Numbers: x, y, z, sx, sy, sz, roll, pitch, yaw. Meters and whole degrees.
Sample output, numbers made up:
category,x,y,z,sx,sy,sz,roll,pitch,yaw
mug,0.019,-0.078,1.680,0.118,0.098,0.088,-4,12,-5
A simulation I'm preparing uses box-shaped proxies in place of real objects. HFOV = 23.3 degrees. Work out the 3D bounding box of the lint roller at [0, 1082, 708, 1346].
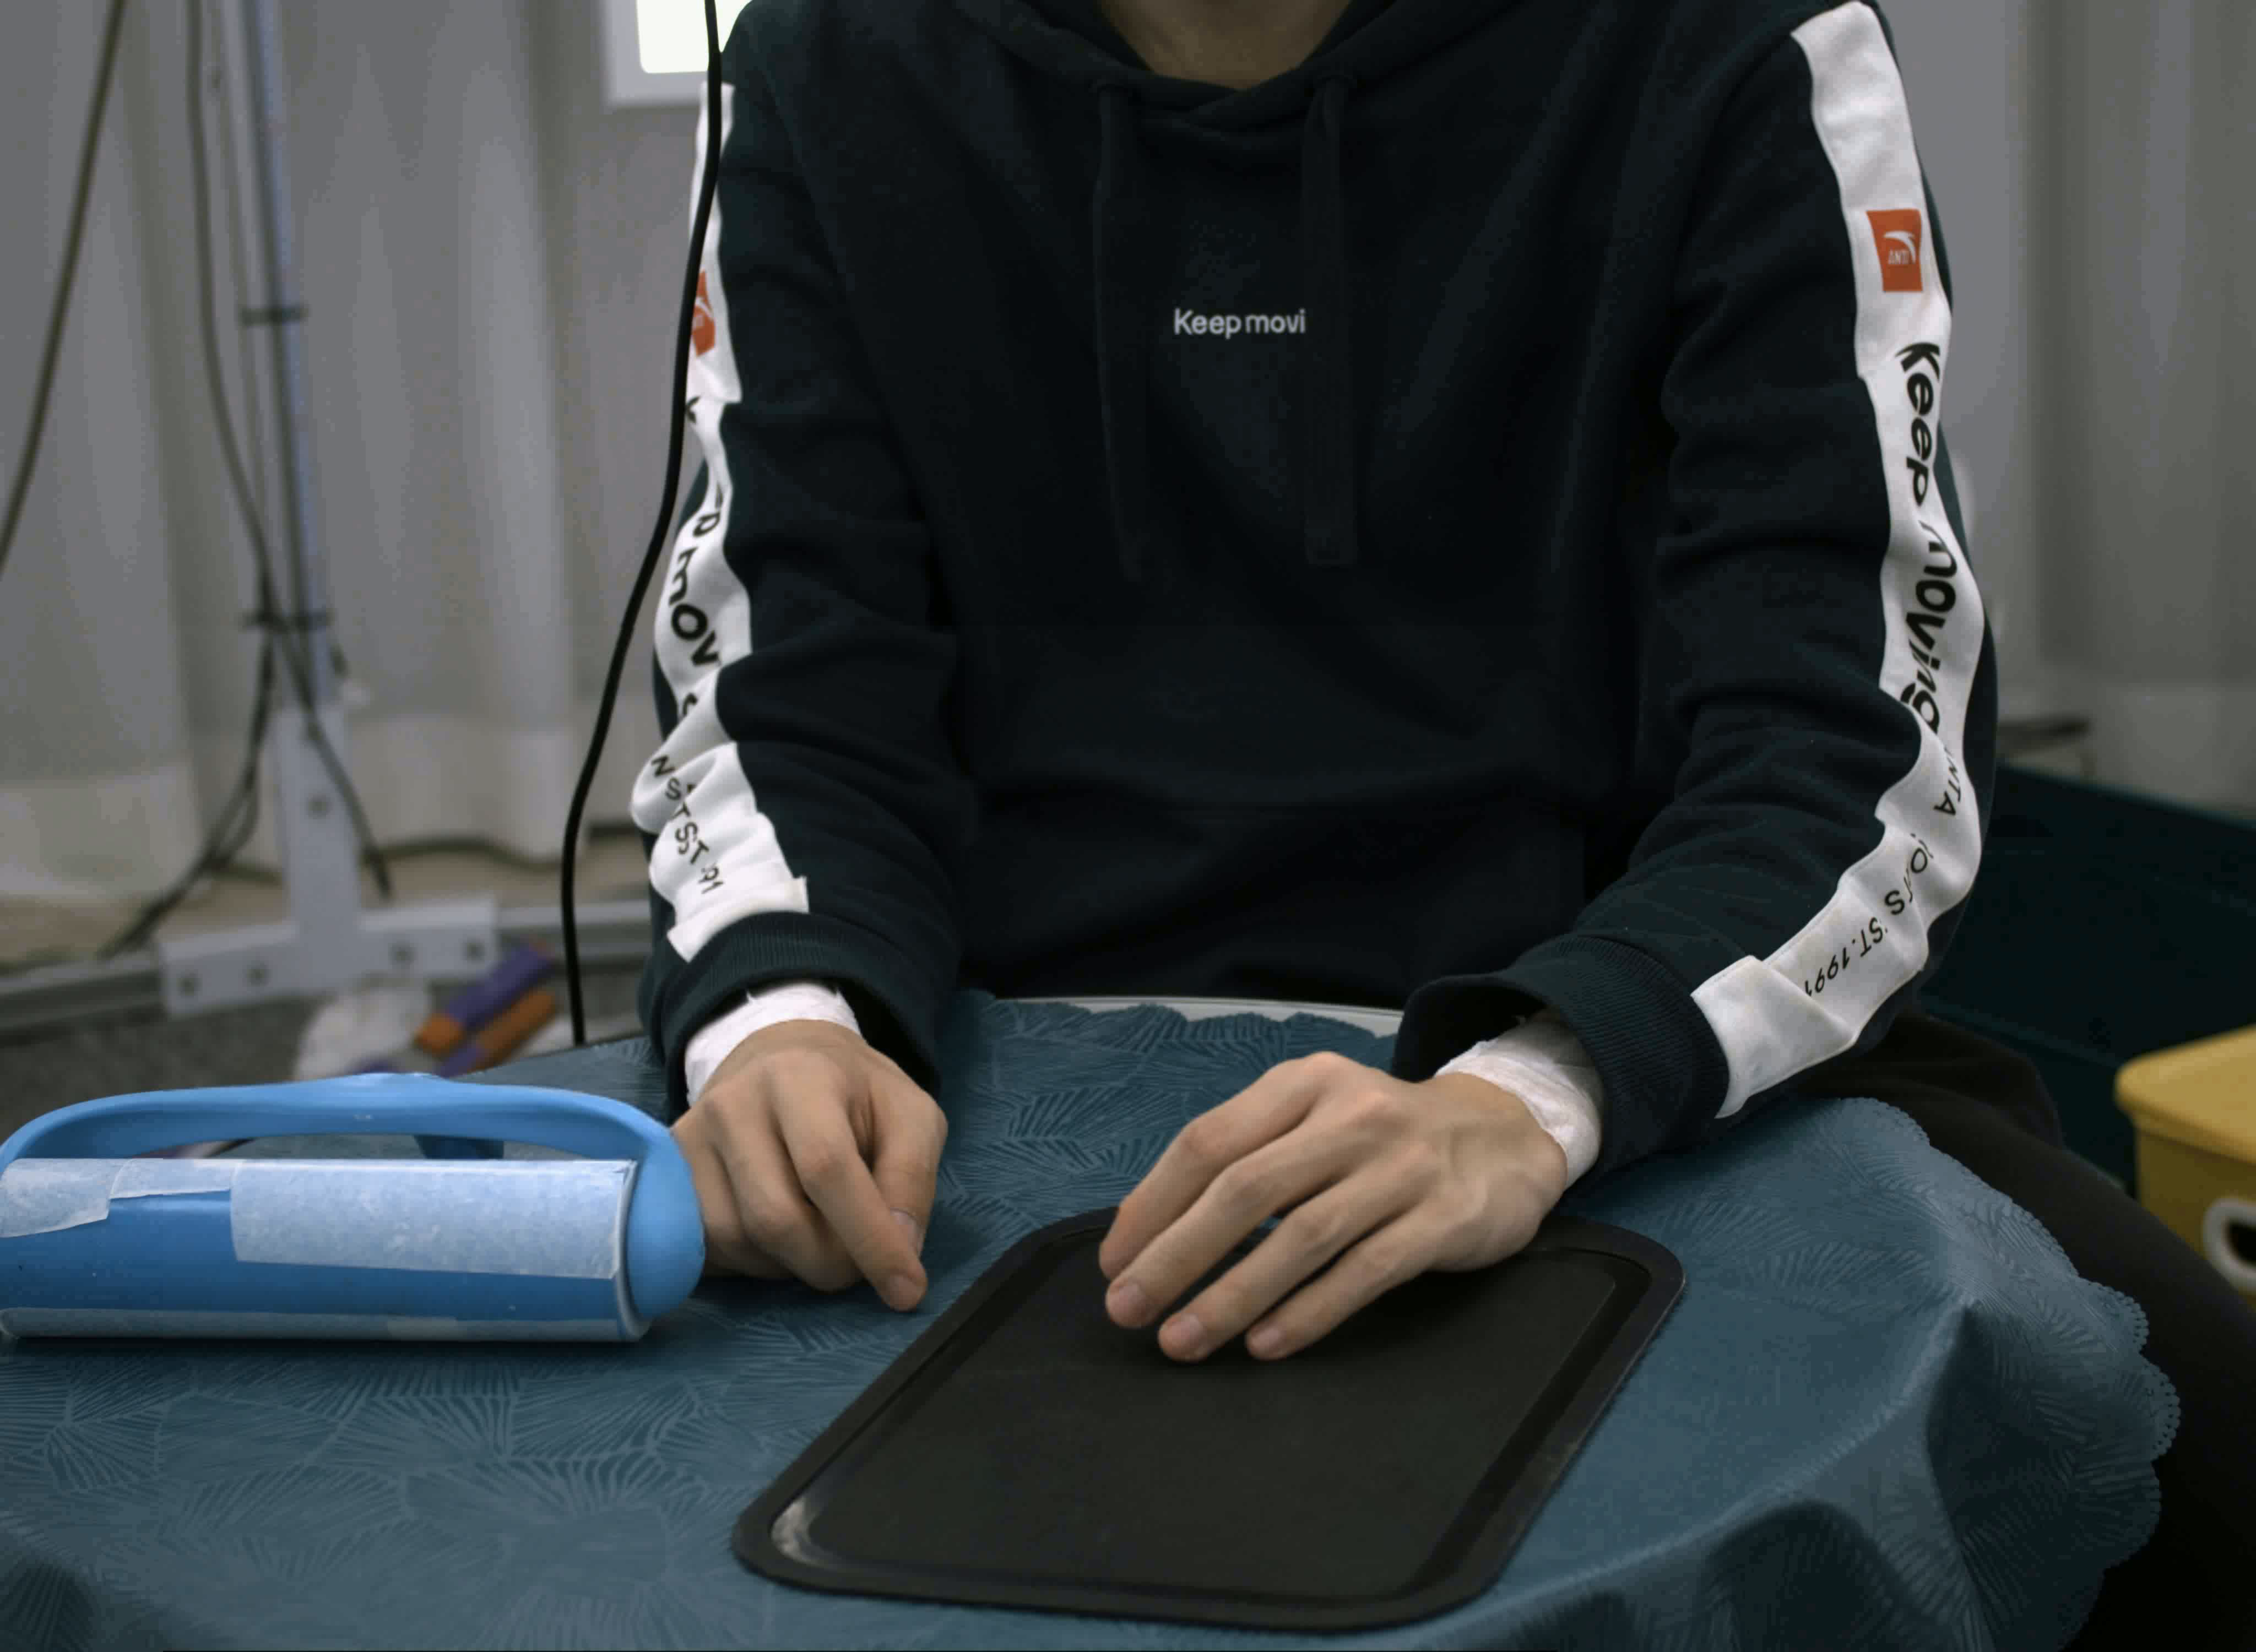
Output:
category,x,y,z,sx,sy,sz,roll,pitch,yaw
lint roller,-0.230,0.109,1.674,0.228,0.067,0.181,-3,16,8

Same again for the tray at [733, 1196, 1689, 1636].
category,x,y,z,sx,sy,sz,roll,pitch,yaw
tray,0.032,0.157,1.538,0.211,0.010,0.326,2,16,19
